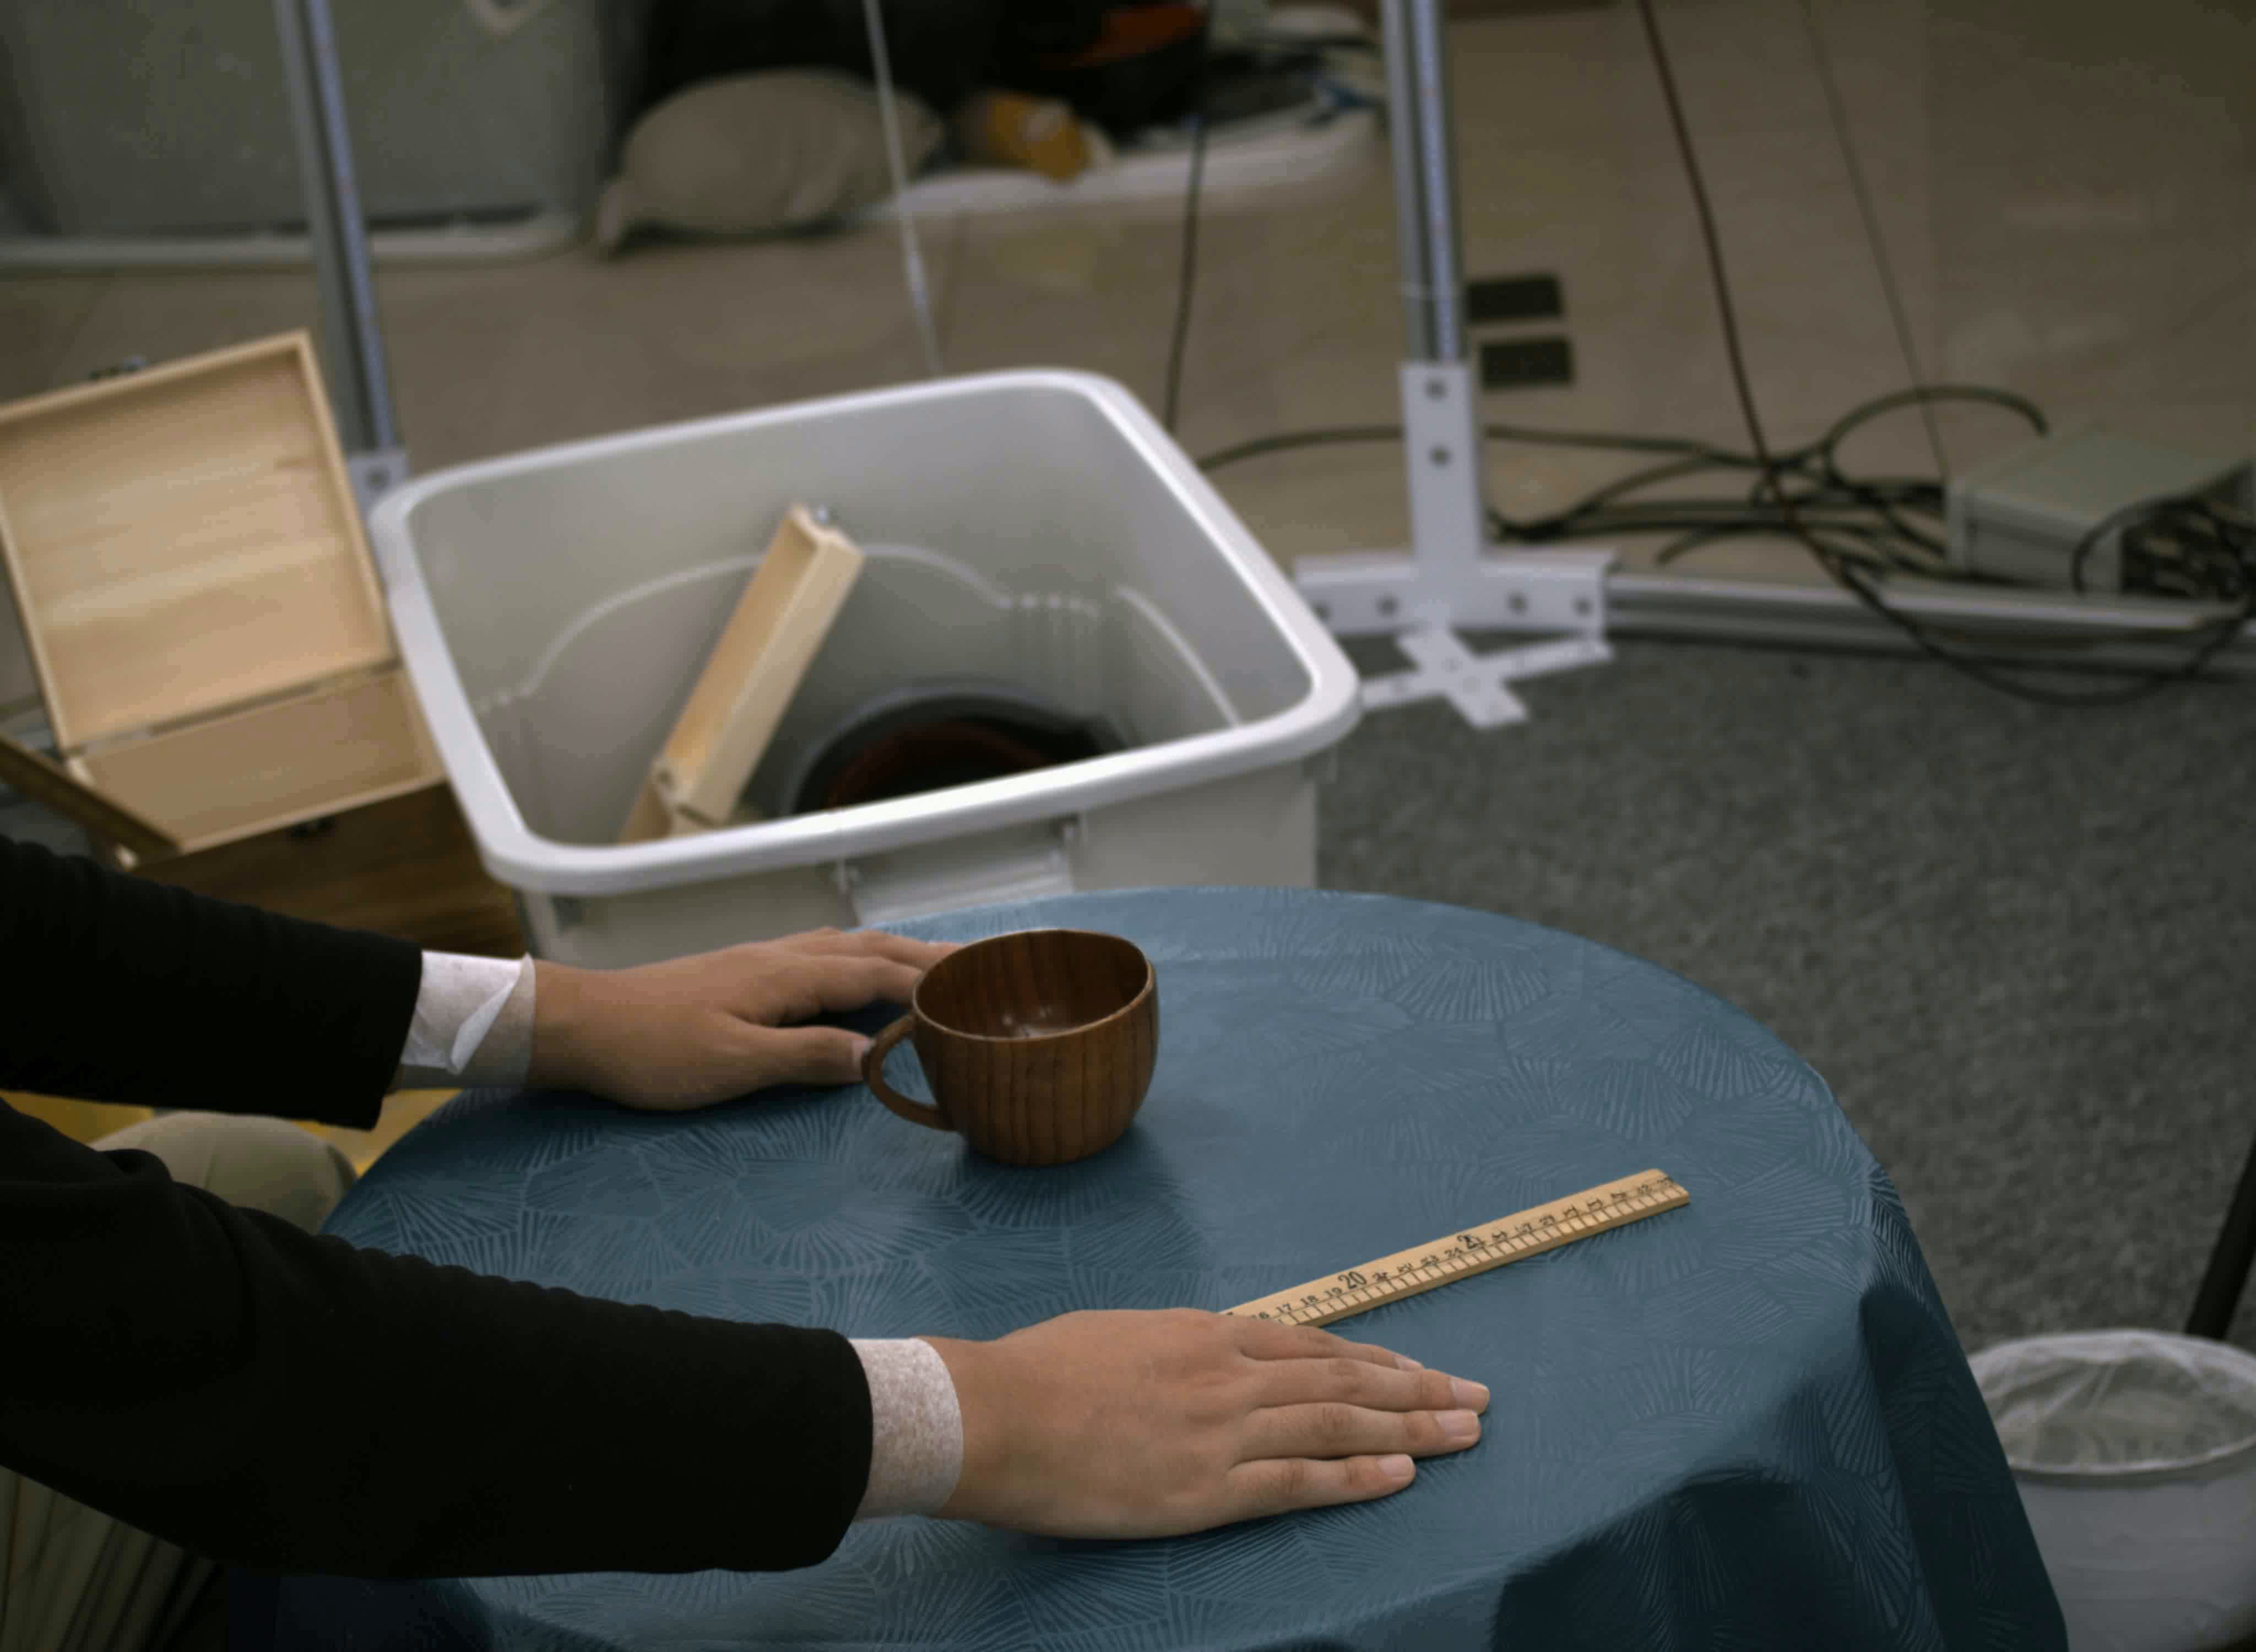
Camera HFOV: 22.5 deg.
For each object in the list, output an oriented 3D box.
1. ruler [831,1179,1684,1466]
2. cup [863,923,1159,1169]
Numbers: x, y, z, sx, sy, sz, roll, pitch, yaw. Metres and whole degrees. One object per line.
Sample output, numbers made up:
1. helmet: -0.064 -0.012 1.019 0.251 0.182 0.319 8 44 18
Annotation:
1. ruler: 0.050 0.175 2.046 0.330 0.022 0.027 -15 22 -19
2. cup: -0.045 0.091 2.184 0.119 0.069 0.095 -15 29 -15
